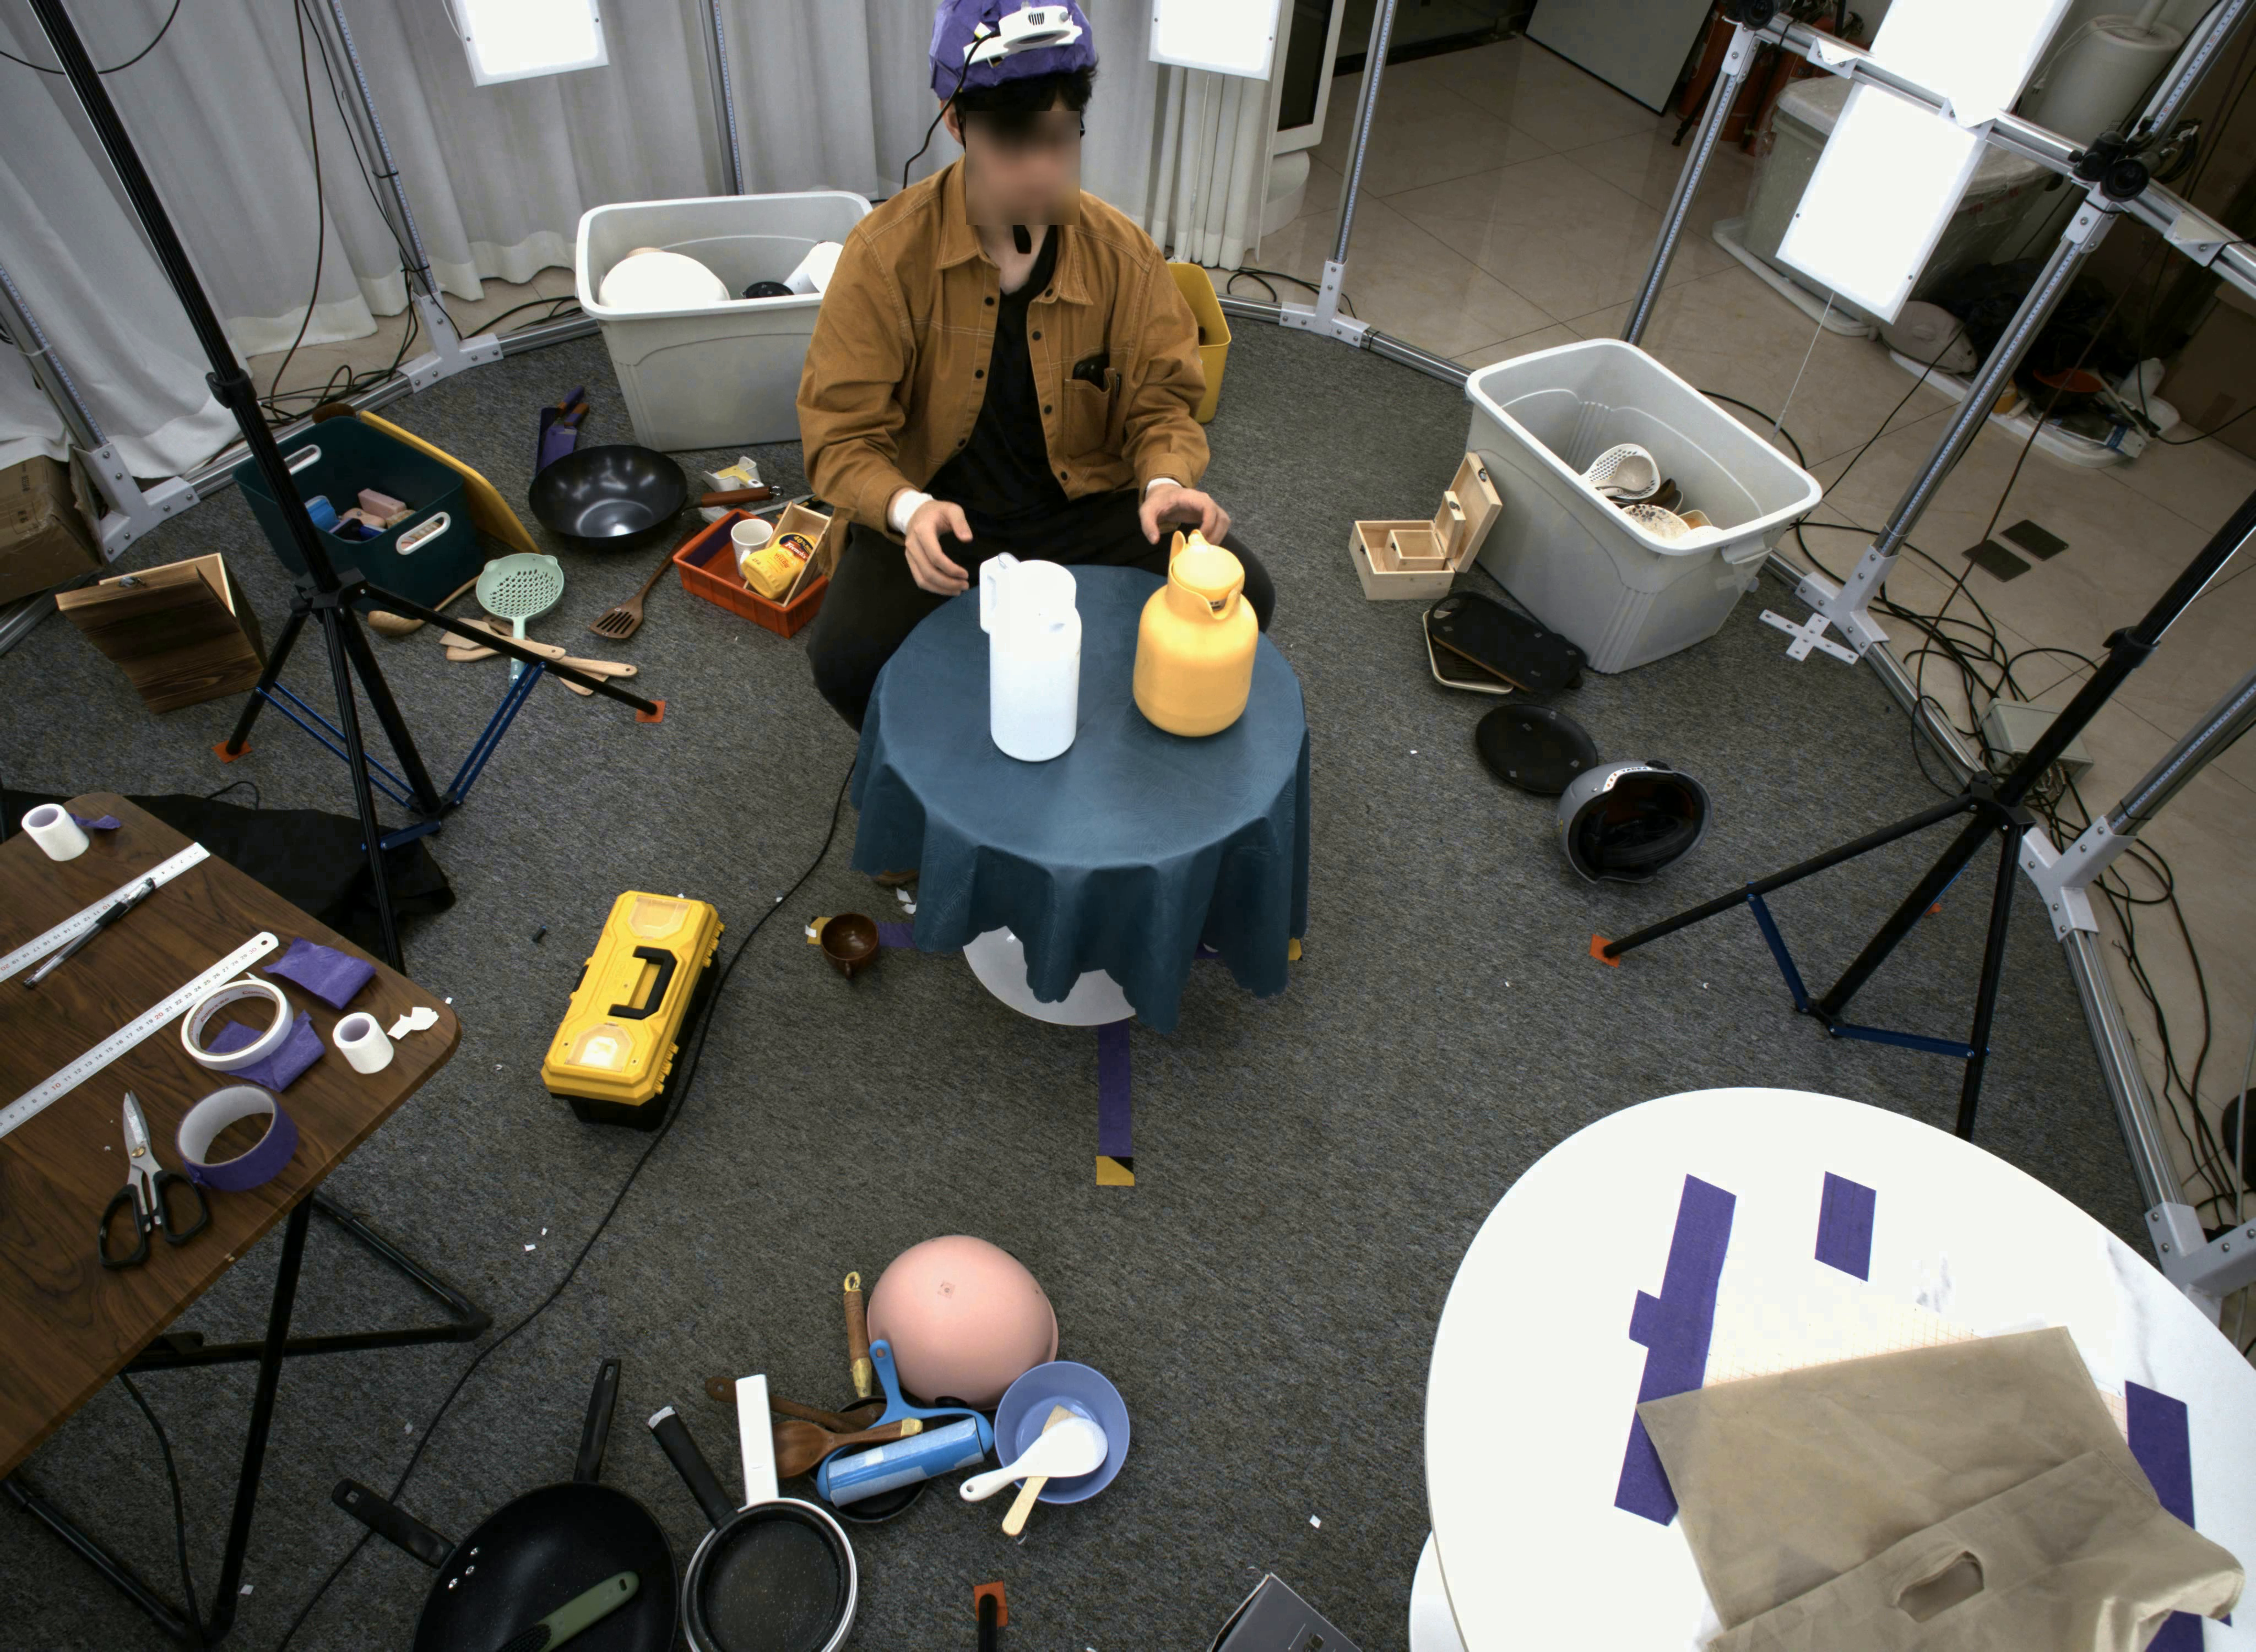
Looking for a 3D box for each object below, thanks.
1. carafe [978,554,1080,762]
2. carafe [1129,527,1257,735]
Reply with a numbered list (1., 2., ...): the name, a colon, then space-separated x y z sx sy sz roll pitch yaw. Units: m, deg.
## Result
1. carafe: -0.135 -0.222 1.681 0.124 0.262 0.176 -31 58 -25
2. carafe: 0.089 -0.271 1.739 0.163 0.254 0.207 -3 51 -11
